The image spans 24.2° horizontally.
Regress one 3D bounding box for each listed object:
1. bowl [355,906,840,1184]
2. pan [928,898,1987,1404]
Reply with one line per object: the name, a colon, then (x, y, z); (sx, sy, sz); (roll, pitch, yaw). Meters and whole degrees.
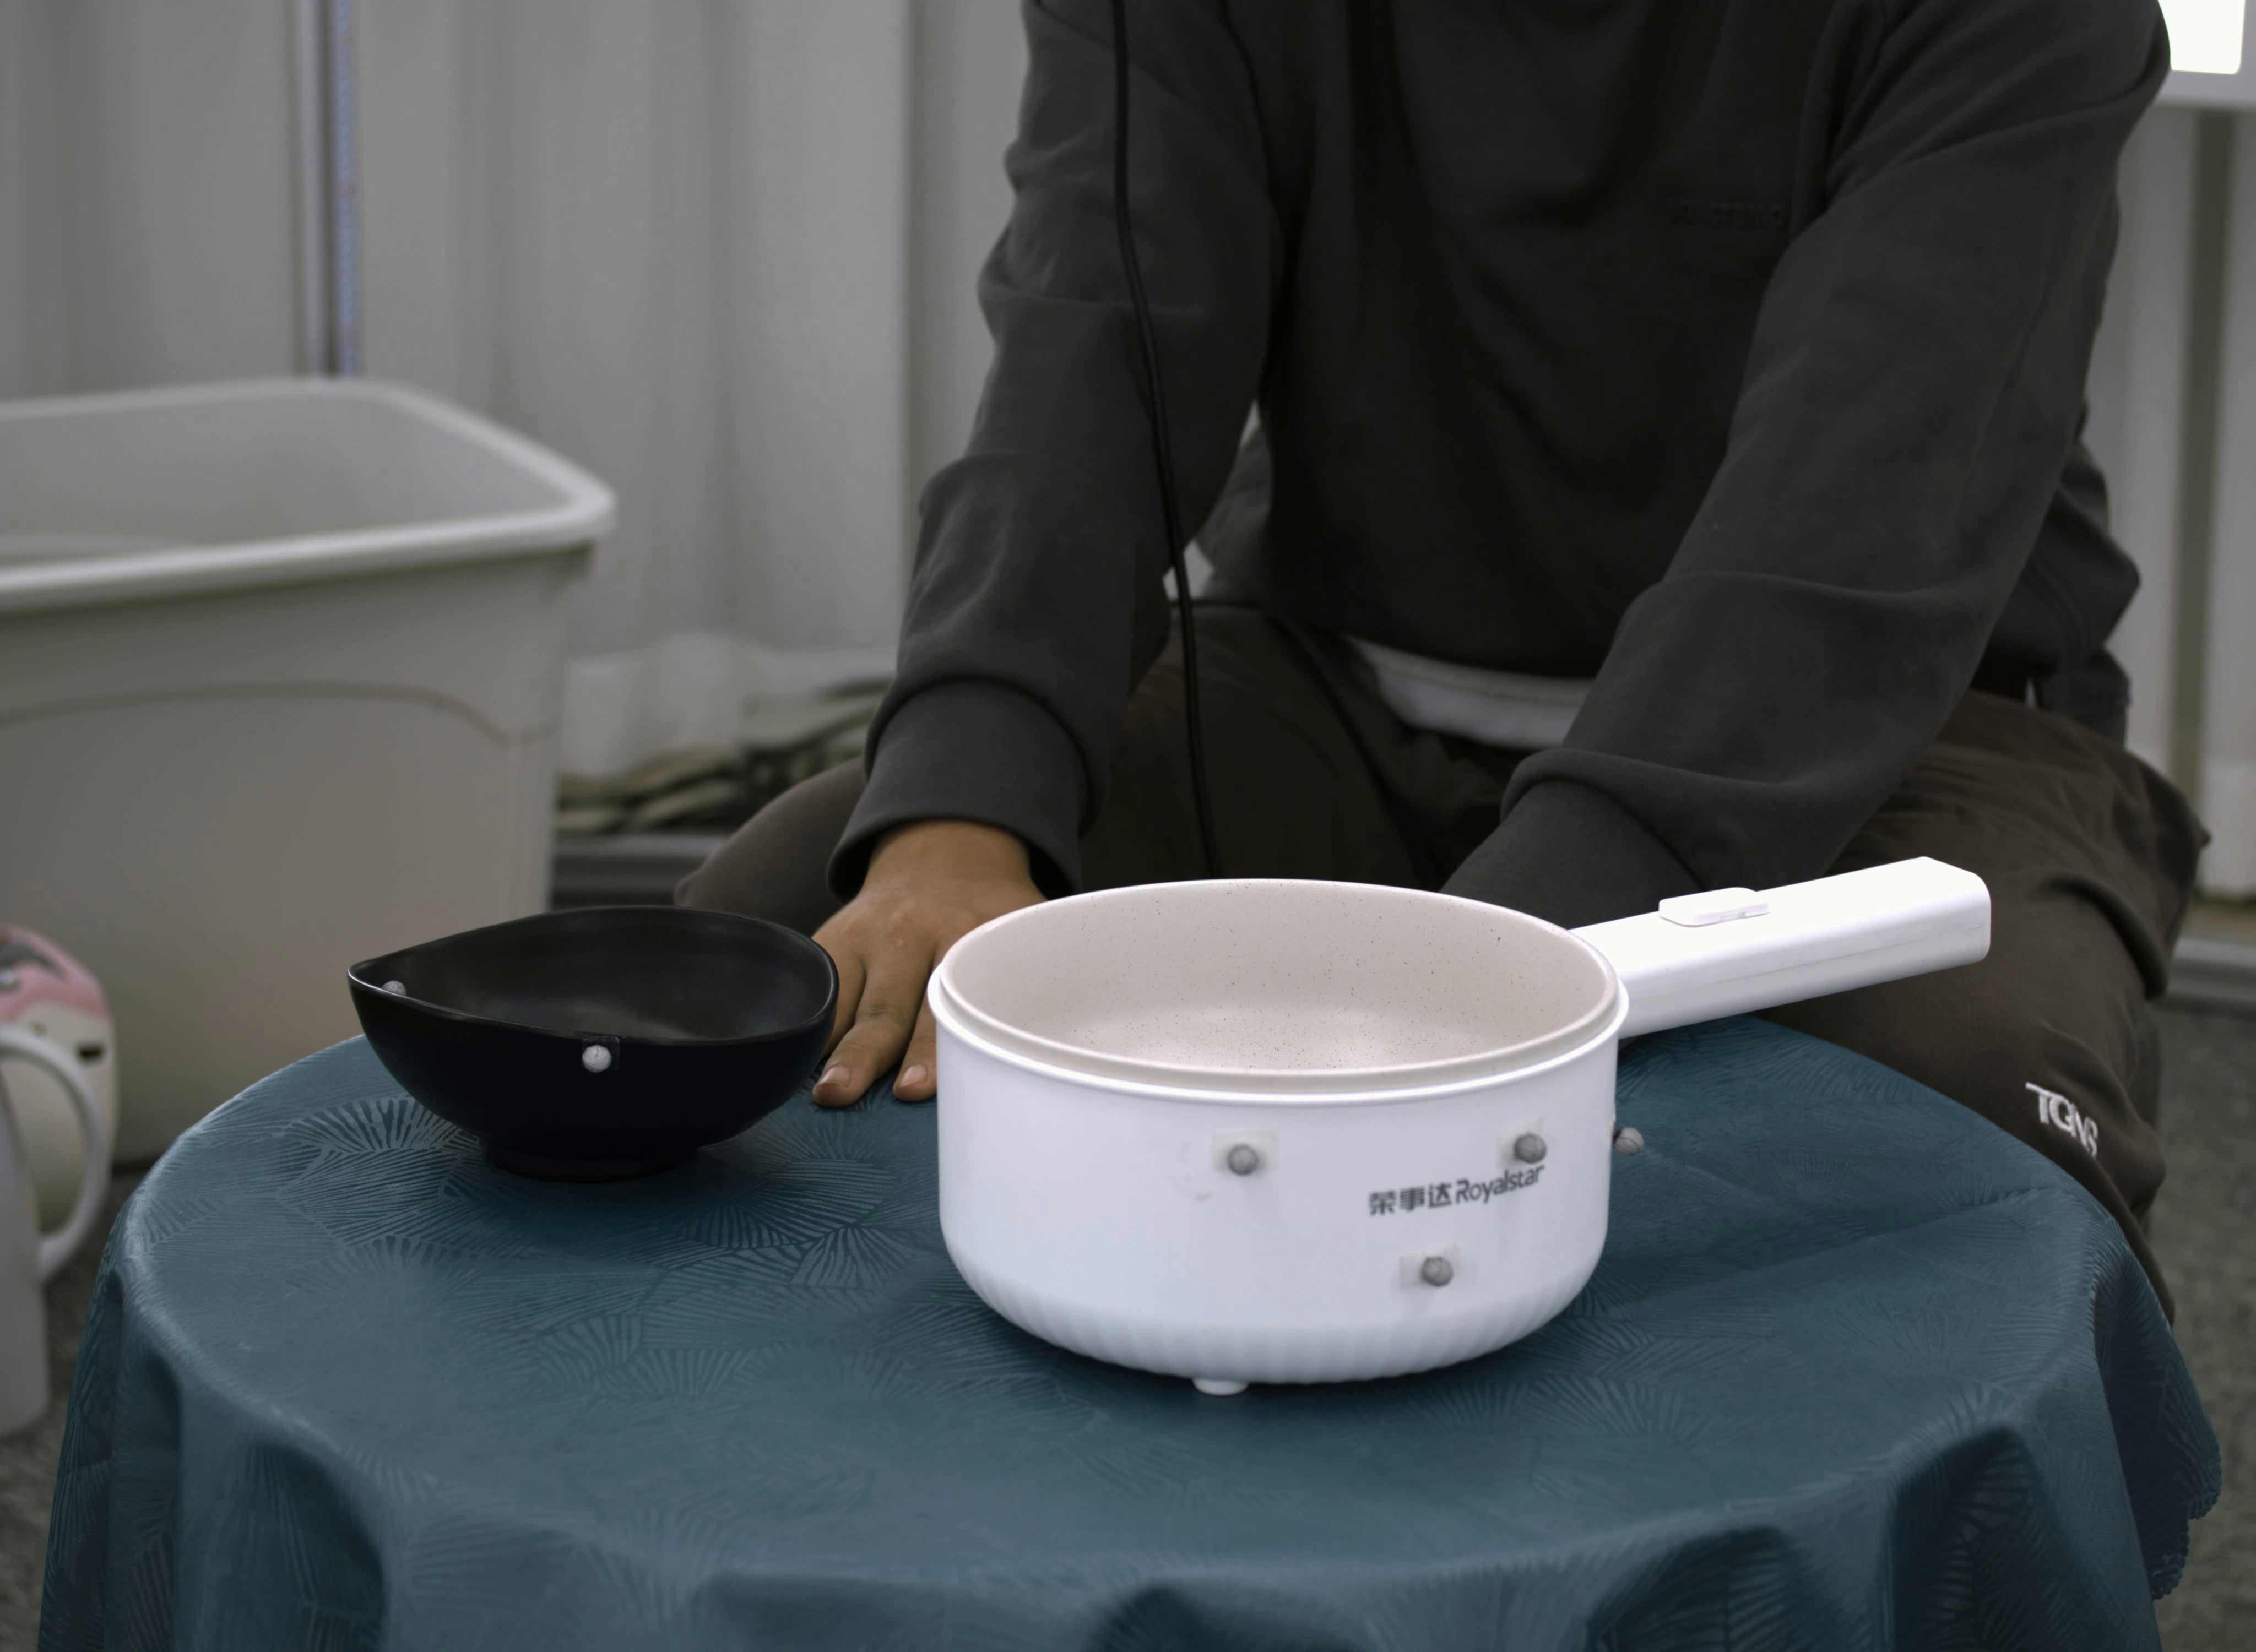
bowl: (-0.167, 0.072, 1.645); (0.168, 0.067, 0.138); (11, 18, 37)
pan: (0.107, 0.088, 1.564); (0.356, 0.103, 0.199); (-7, 13, -33)
